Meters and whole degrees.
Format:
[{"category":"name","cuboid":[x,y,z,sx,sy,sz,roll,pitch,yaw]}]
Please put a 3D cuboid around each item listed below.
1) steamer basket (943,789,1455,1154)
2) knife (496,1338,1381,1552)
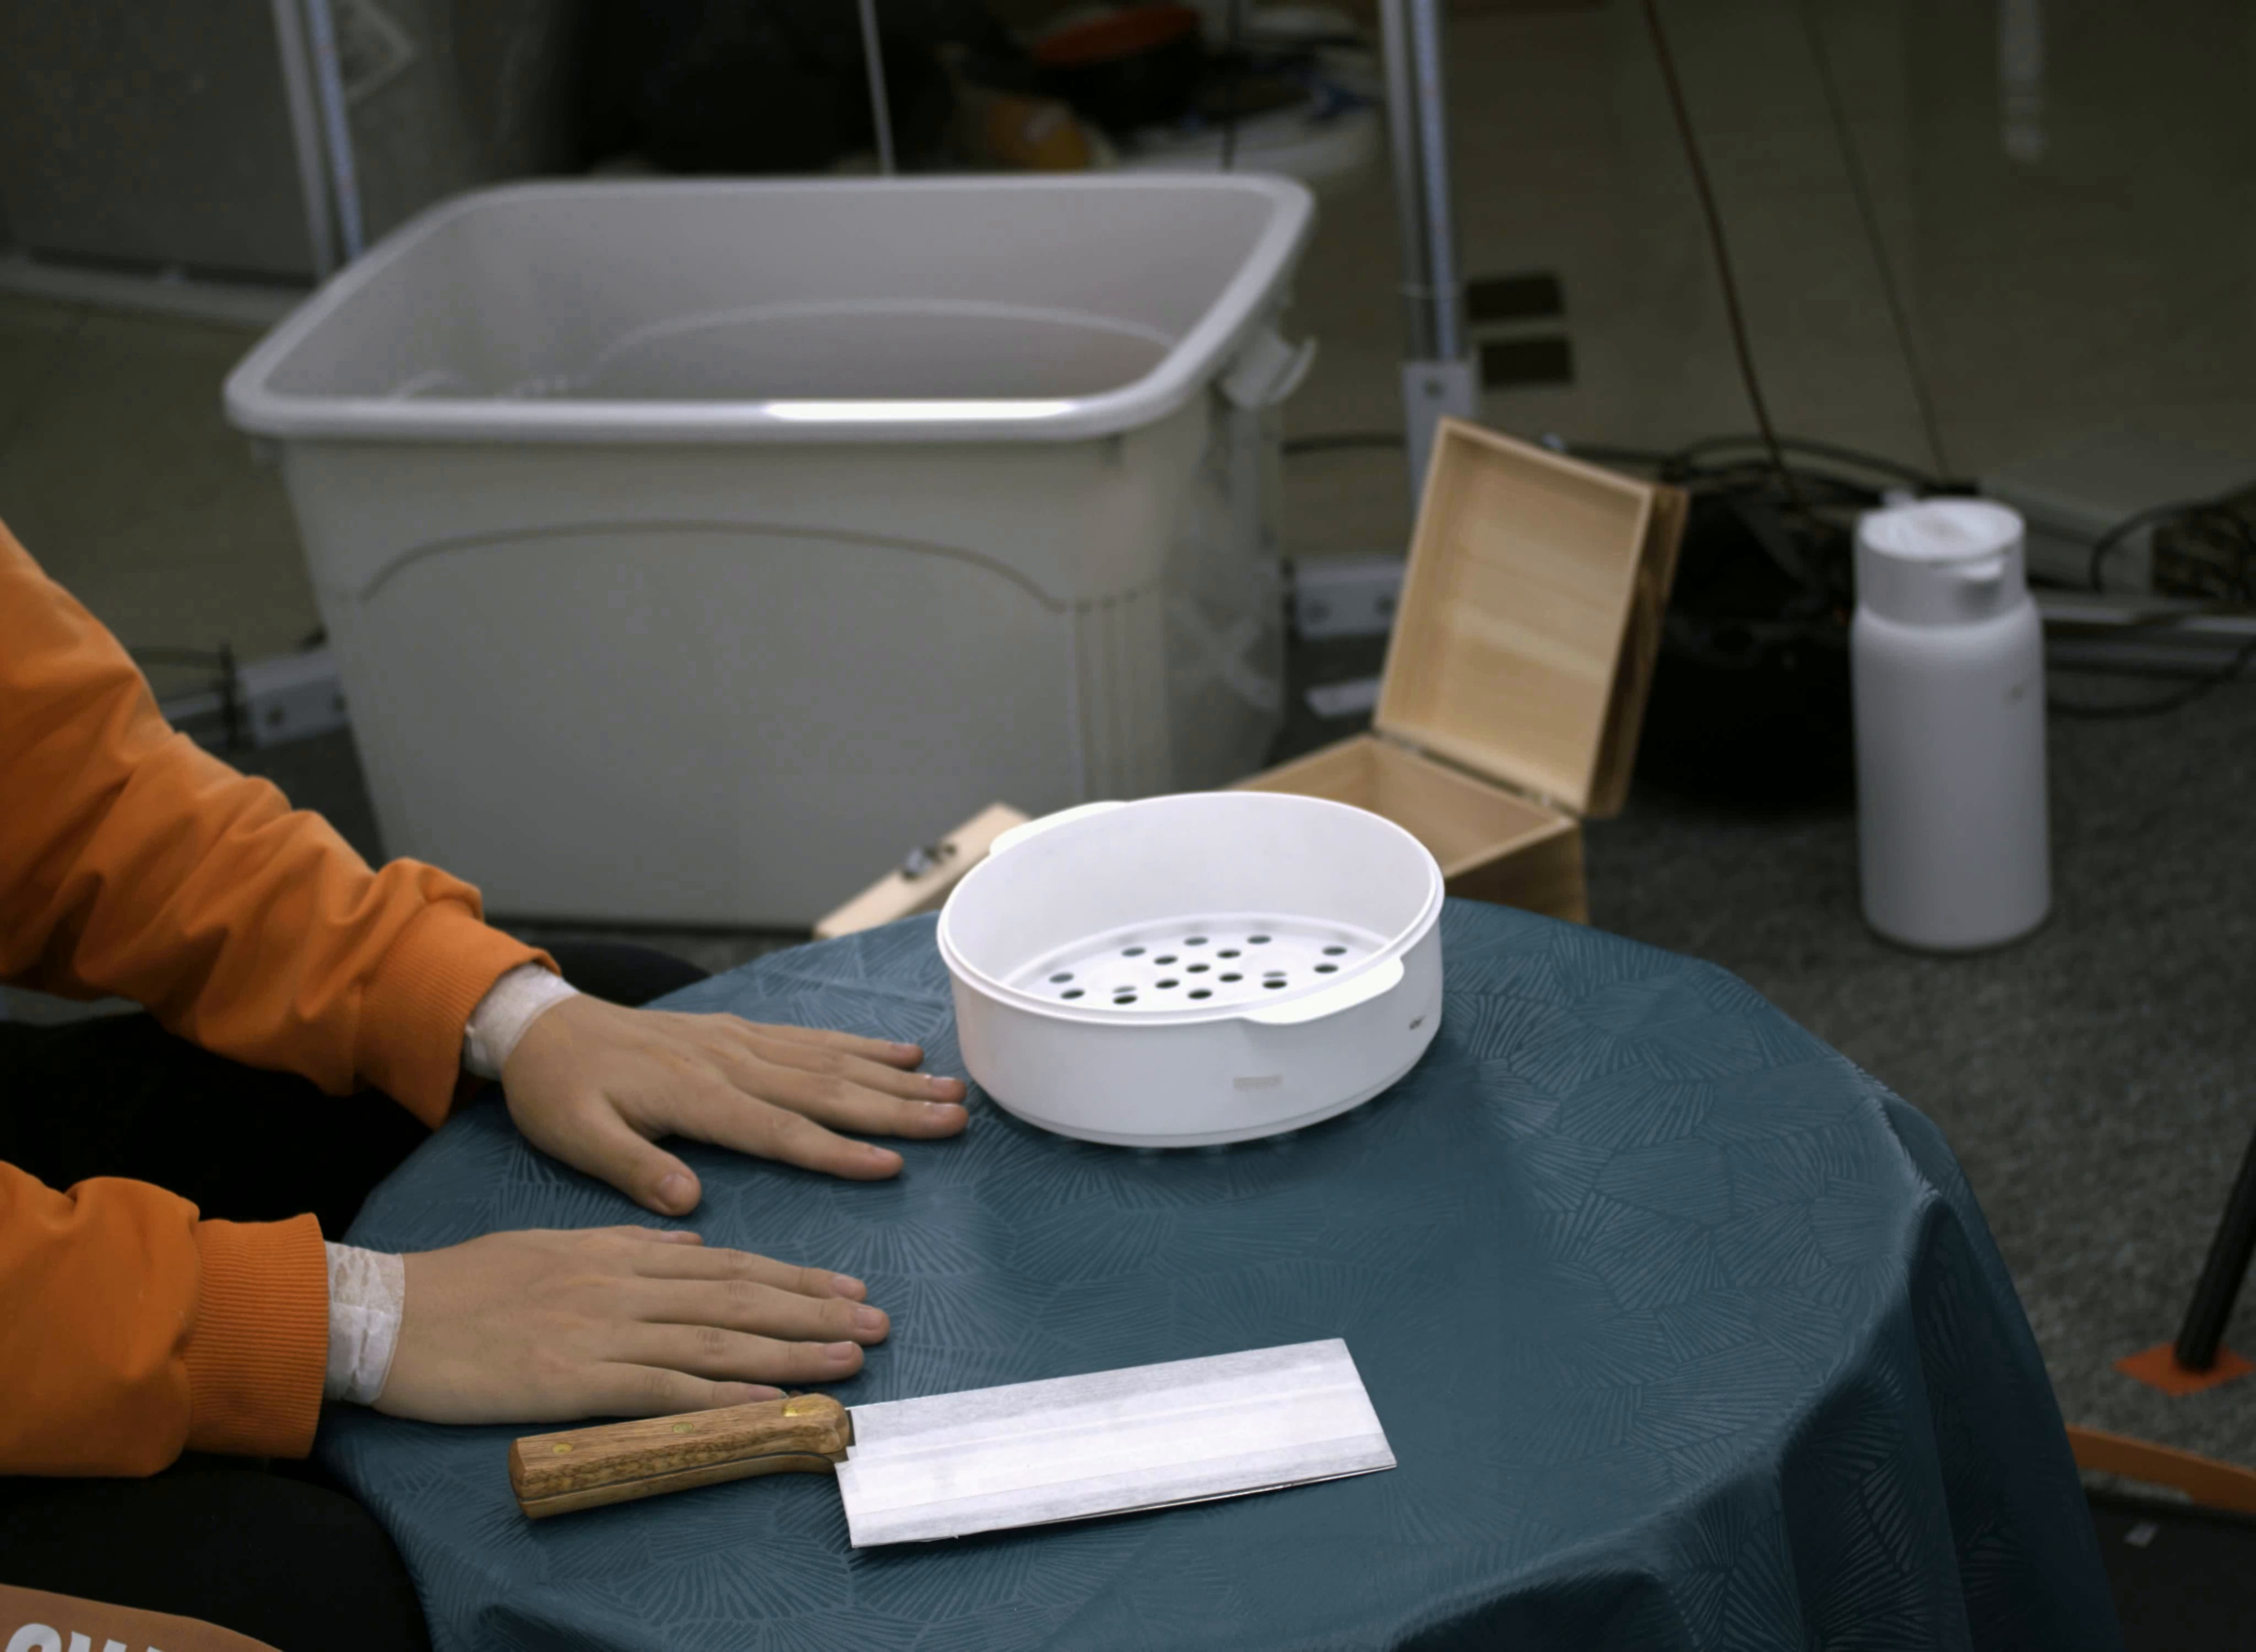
[{"category":"steamer basket","cuboid":[0.030,0.058,2.228,0.201,0.070,0.228,-20,31,-26]},{"category":"knife","cuboid":[-0.065,0.220,1.971,0.305,0.021,0.091,-8,27,-7]}]
